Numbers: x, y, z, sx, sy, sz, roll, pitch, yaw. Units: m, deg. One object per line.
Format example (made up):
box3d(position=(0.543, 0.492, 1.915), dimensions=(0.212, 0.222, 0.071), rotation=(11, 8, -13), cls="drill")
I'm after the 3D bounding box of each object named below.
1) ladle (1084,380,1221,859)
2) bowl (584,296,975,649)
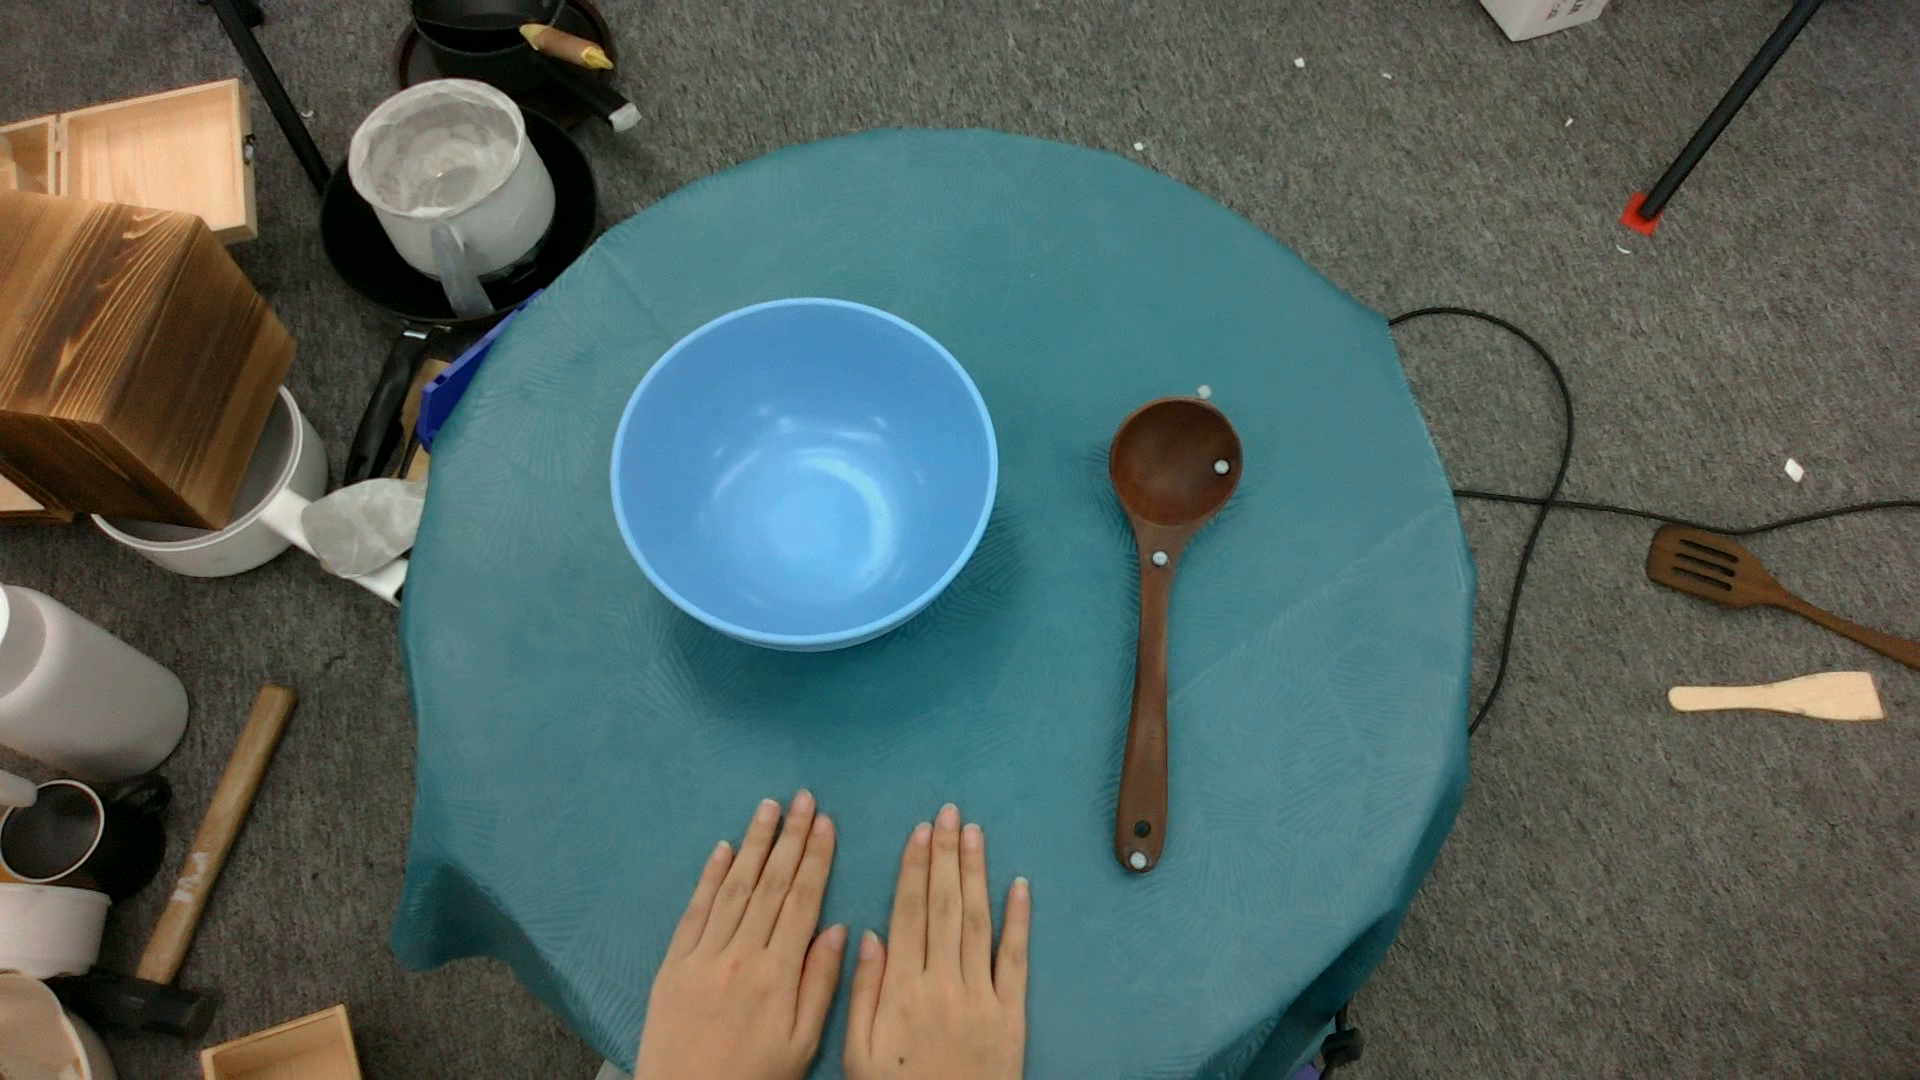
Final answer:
box3d(position=(0.096, 0.036, 0.739), dimensions=(0.076, 0.065, 0.261), rotation=(6, 67, 4), cls="ladle")
box3d(position=(-0.096, -0.023, 0.736), dimensions=(0.196, 0.095, 0.197), rotation=(4, 64, -8), cls="bowl")
